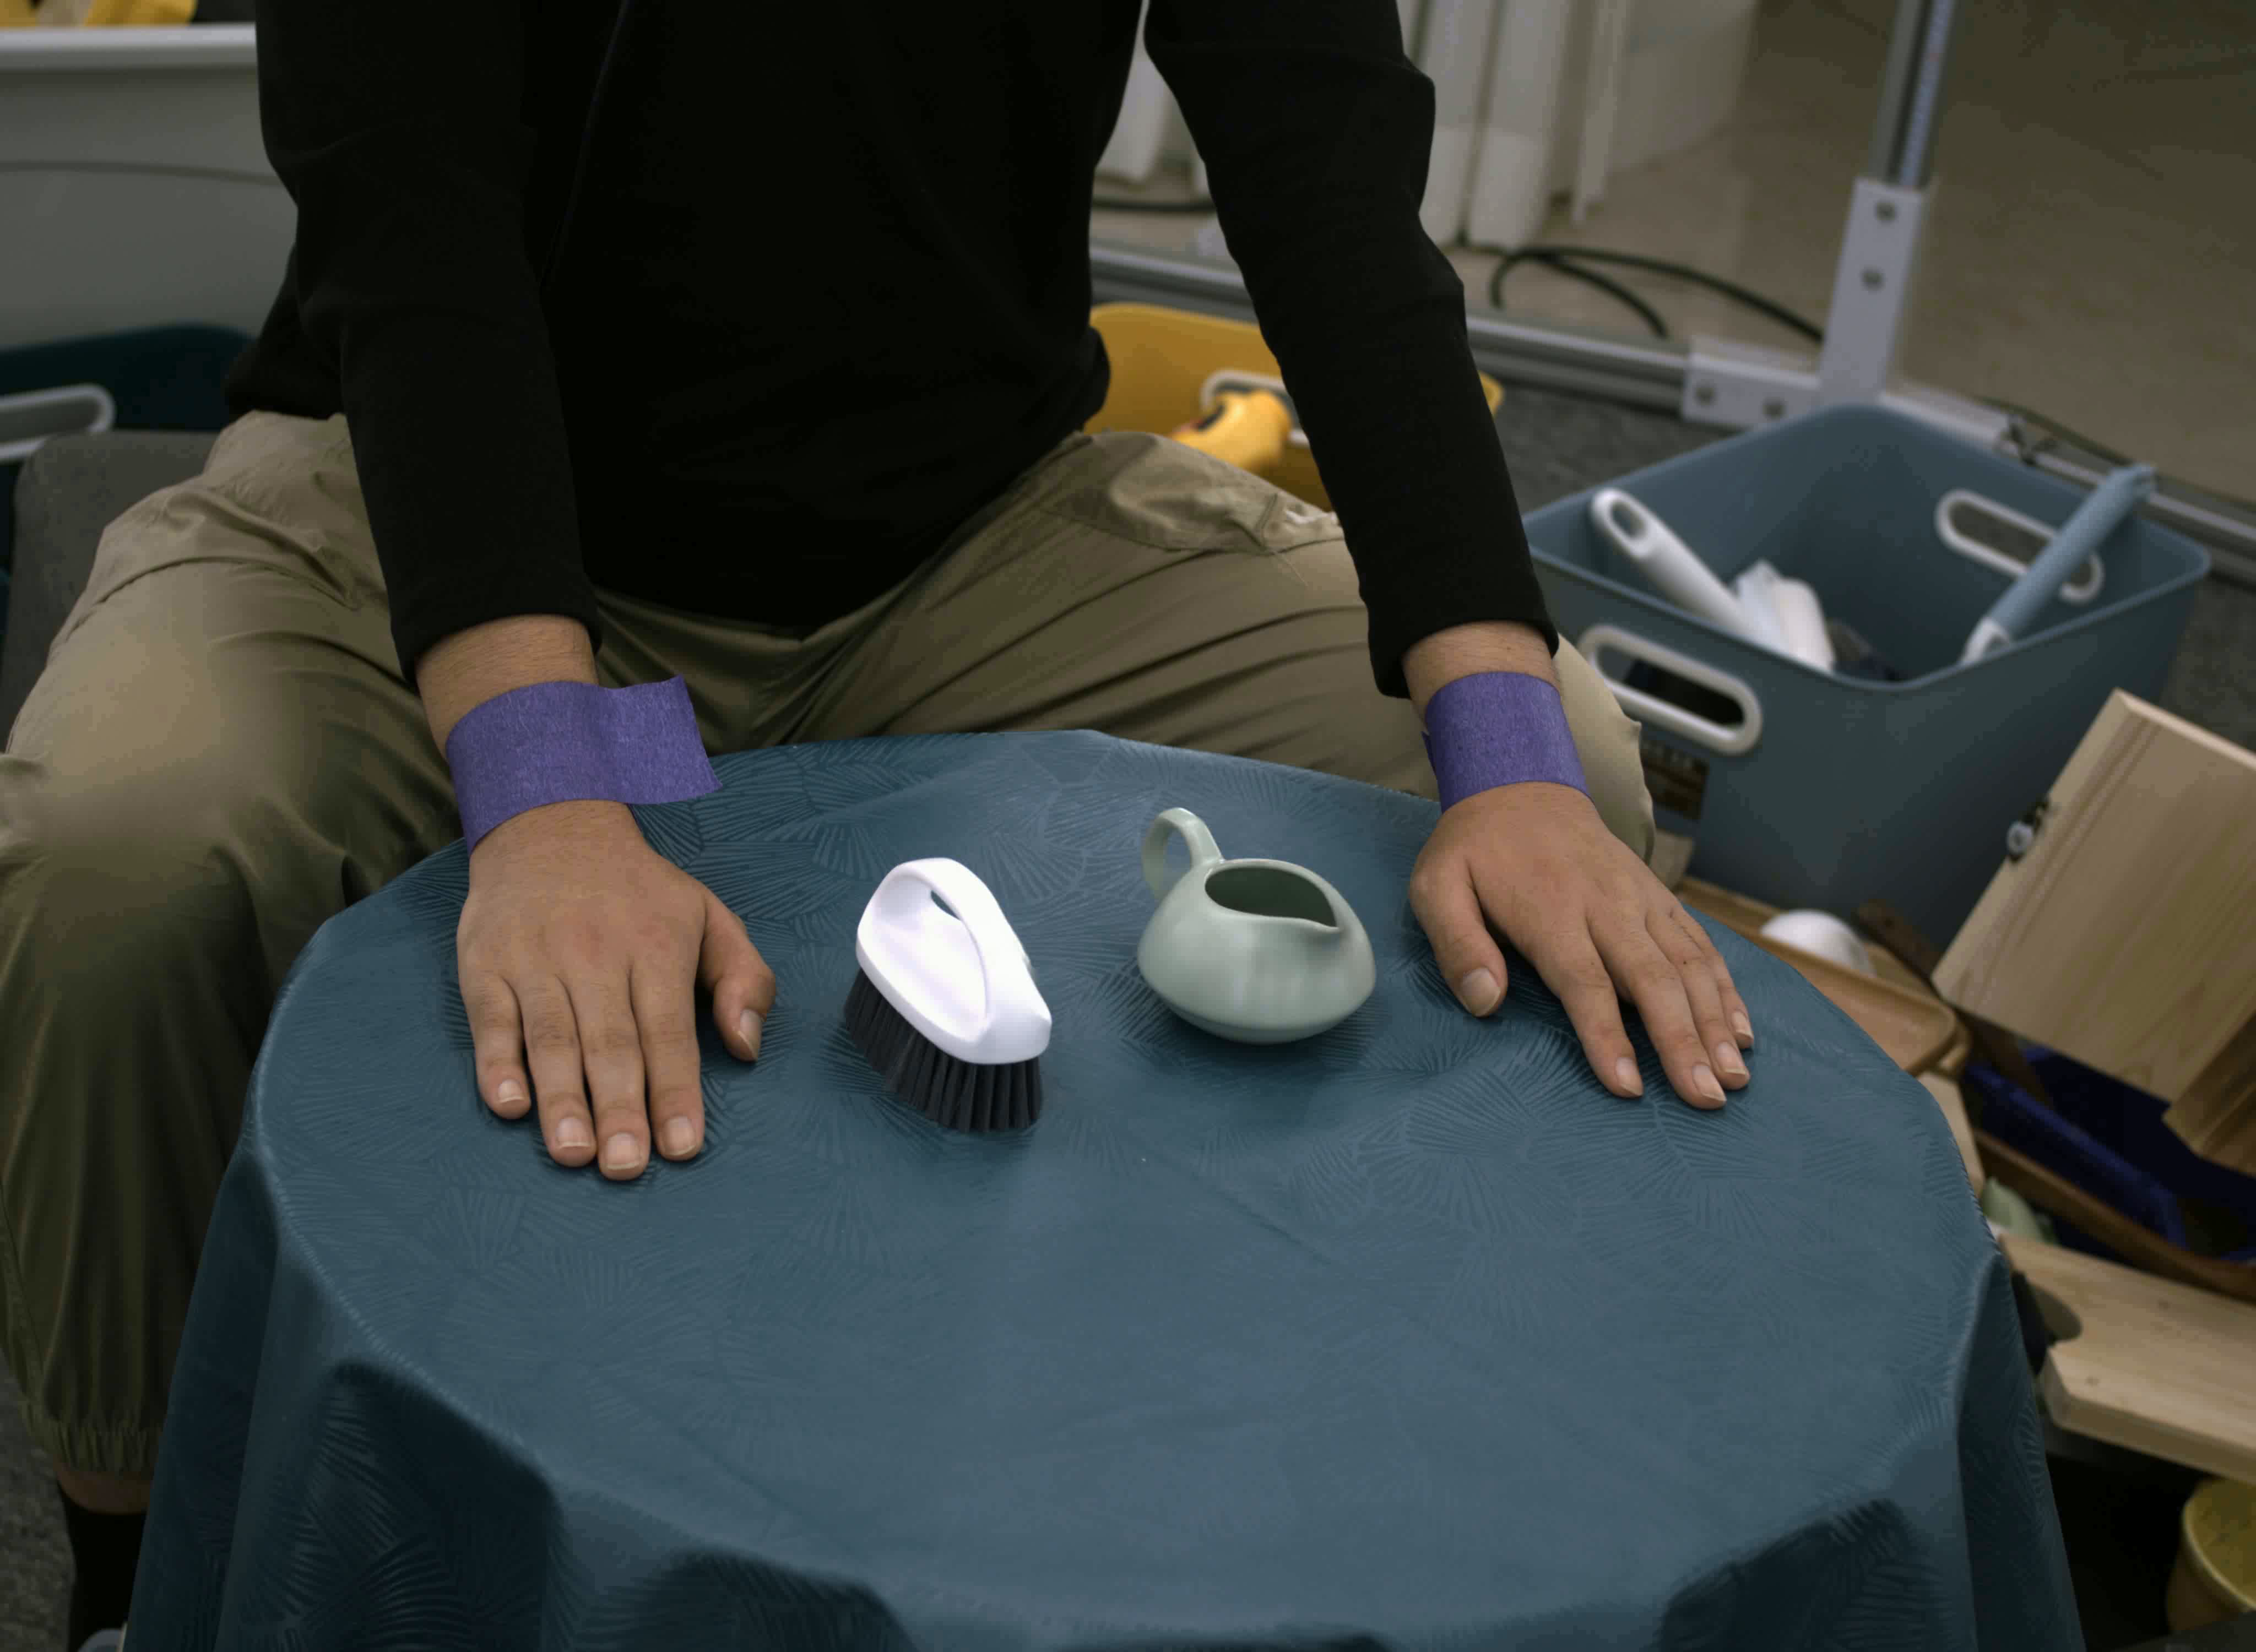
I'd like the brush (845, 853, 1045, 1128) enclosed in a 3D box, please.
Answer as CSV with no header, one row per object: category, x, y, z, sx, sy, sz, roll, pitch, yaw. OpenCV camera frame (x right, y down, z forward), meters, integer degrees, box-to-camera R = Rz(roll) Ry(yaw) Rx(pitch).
brush,-0.062,0.050,1.849,0.050,0.072,0.100,-6,30,-27

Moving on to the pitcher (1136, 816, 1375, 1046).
pitcher,0.039,0.039,1.916,0.085,0.060,0.109,-16,32,-38
